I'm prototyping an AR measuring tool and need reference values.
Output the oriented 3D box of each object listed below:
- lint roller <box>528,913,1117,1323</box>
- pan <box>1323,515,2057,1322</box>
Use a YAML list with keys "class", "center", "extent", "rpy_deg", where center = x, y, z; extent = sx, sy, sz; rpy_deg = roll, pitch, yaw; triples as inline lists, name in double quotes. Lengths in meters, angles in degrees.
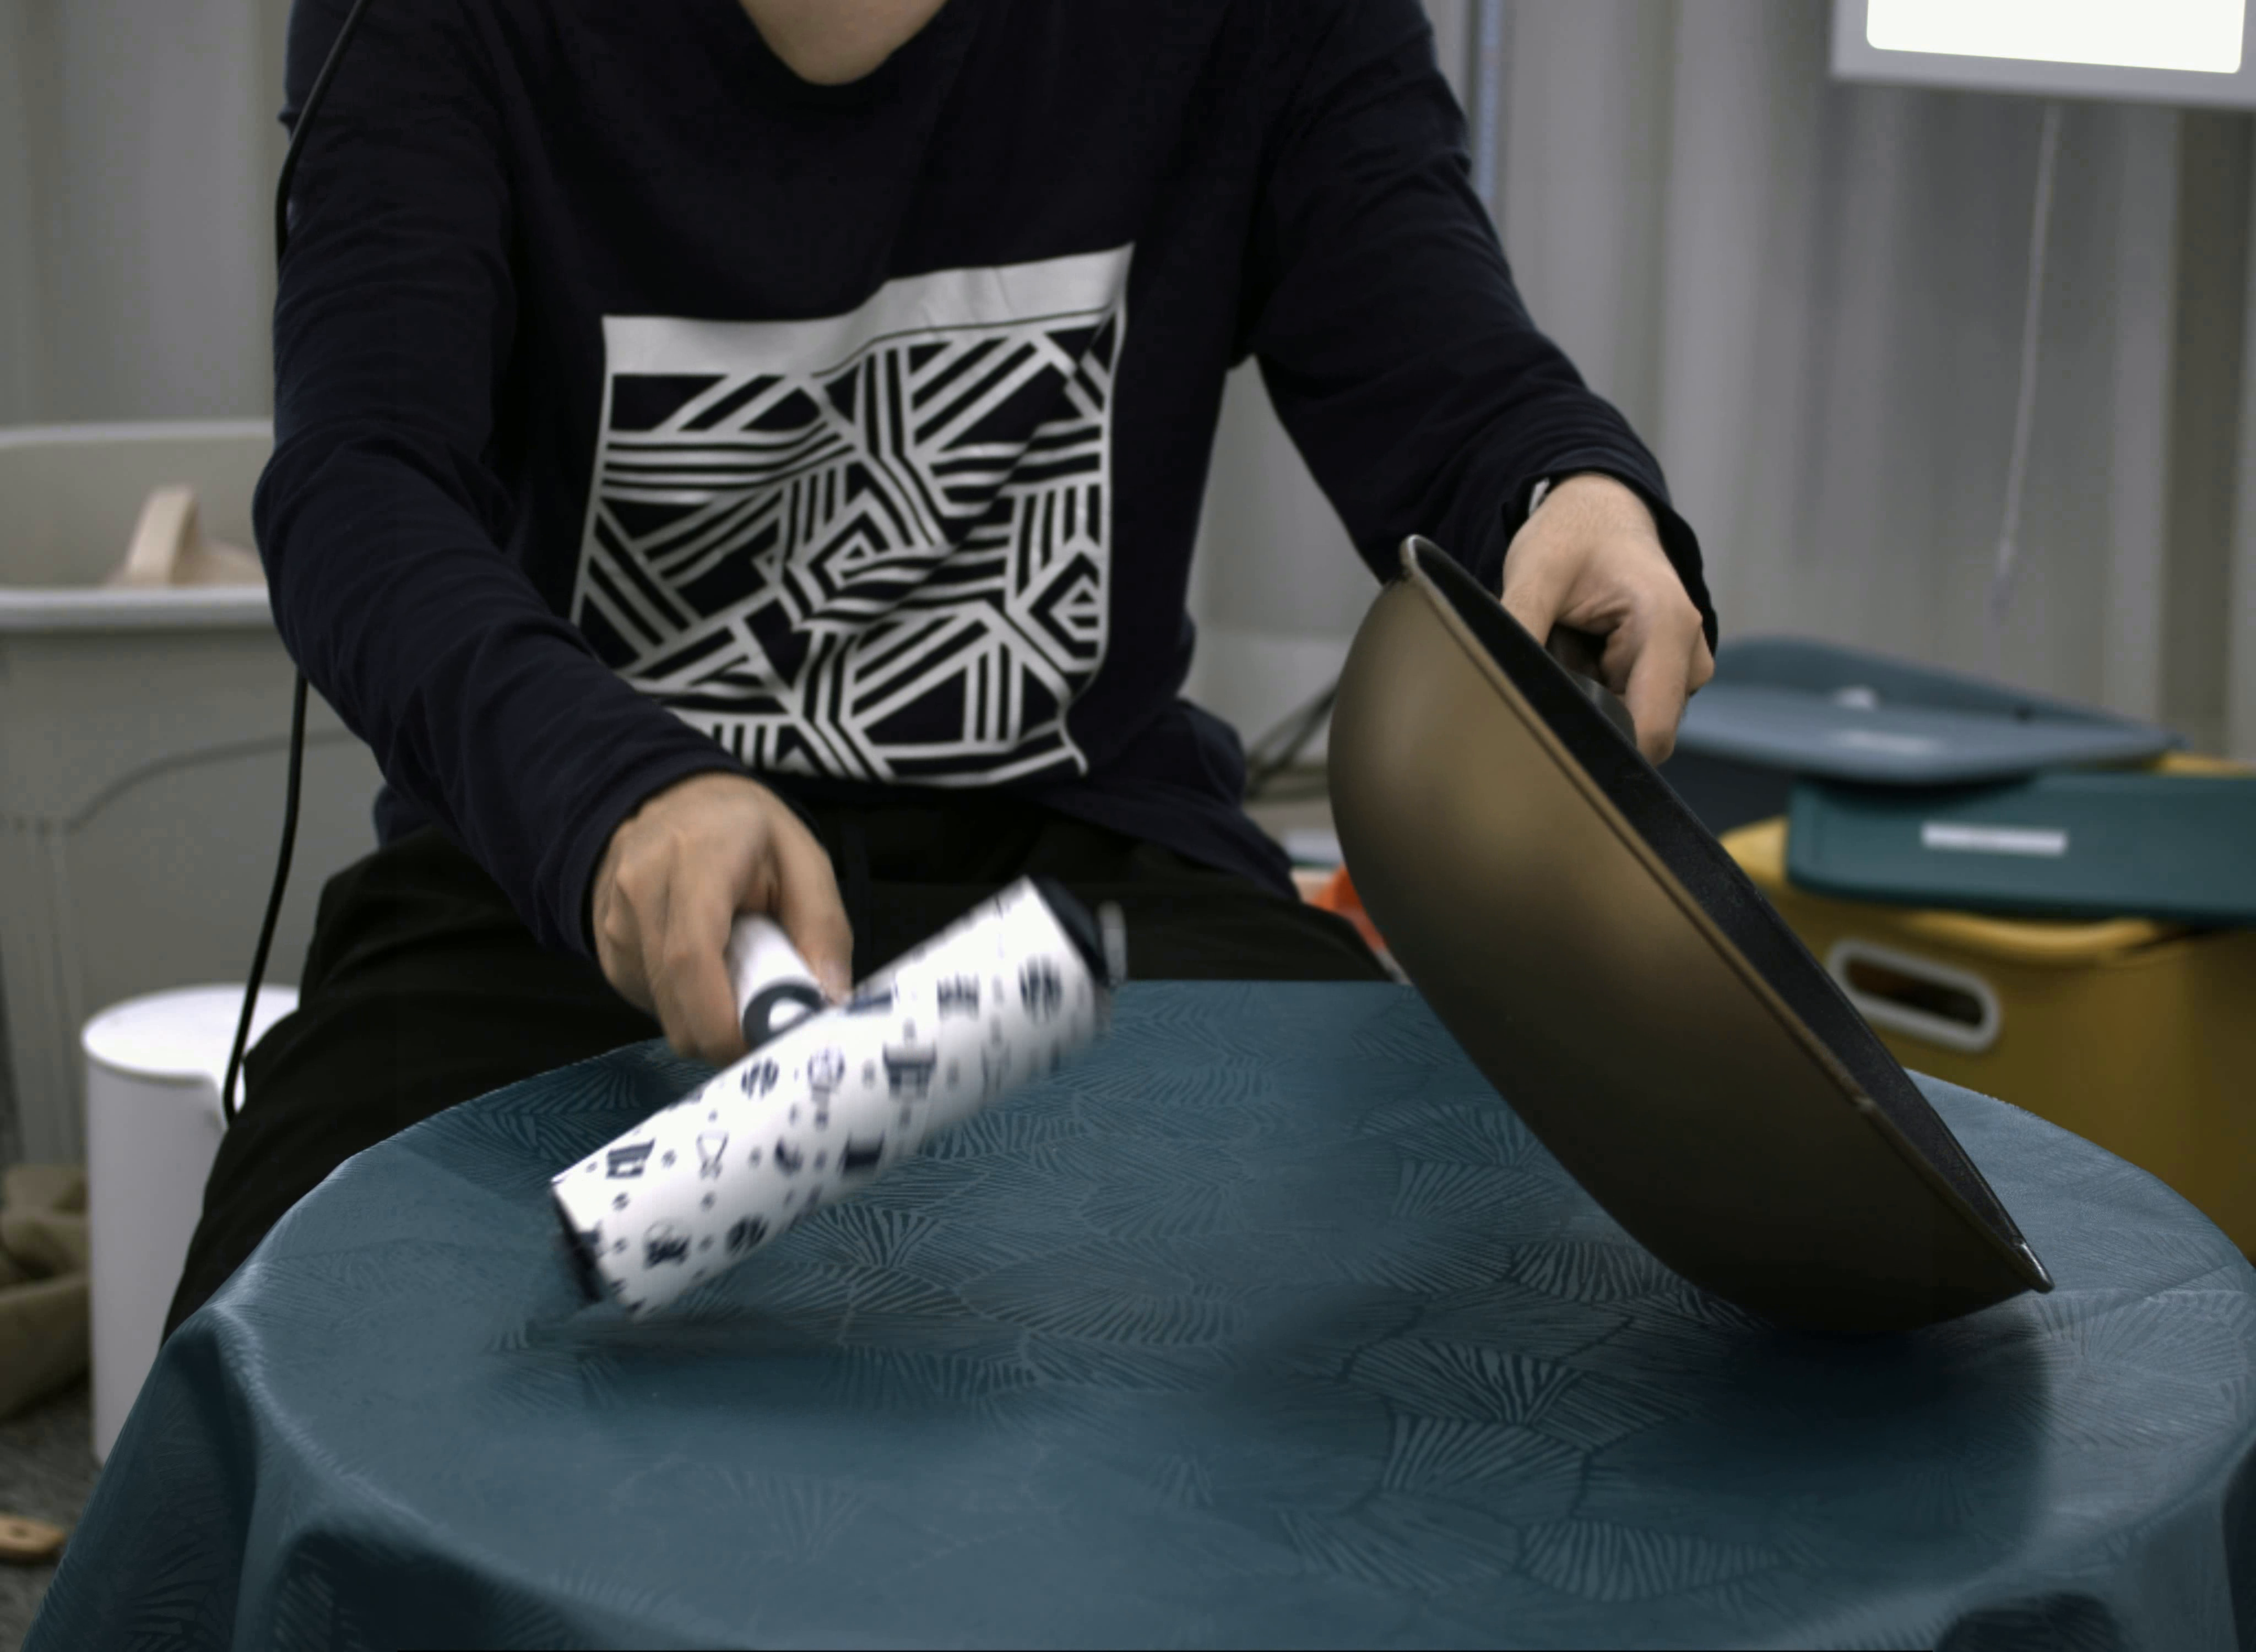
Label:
- class: "lint roller"
  center: [-0.108, 0.061, 1.579]
  extent: [0.176, 0.051, 0.245]
  rpy_deg: [-28, 18, -6]
- class: "pan"
  center: [0.134, 0.016, 1.587]
  extent: [0.087, 0.290, 0.459]
  rpy_deg: [-41, 18, 7]
